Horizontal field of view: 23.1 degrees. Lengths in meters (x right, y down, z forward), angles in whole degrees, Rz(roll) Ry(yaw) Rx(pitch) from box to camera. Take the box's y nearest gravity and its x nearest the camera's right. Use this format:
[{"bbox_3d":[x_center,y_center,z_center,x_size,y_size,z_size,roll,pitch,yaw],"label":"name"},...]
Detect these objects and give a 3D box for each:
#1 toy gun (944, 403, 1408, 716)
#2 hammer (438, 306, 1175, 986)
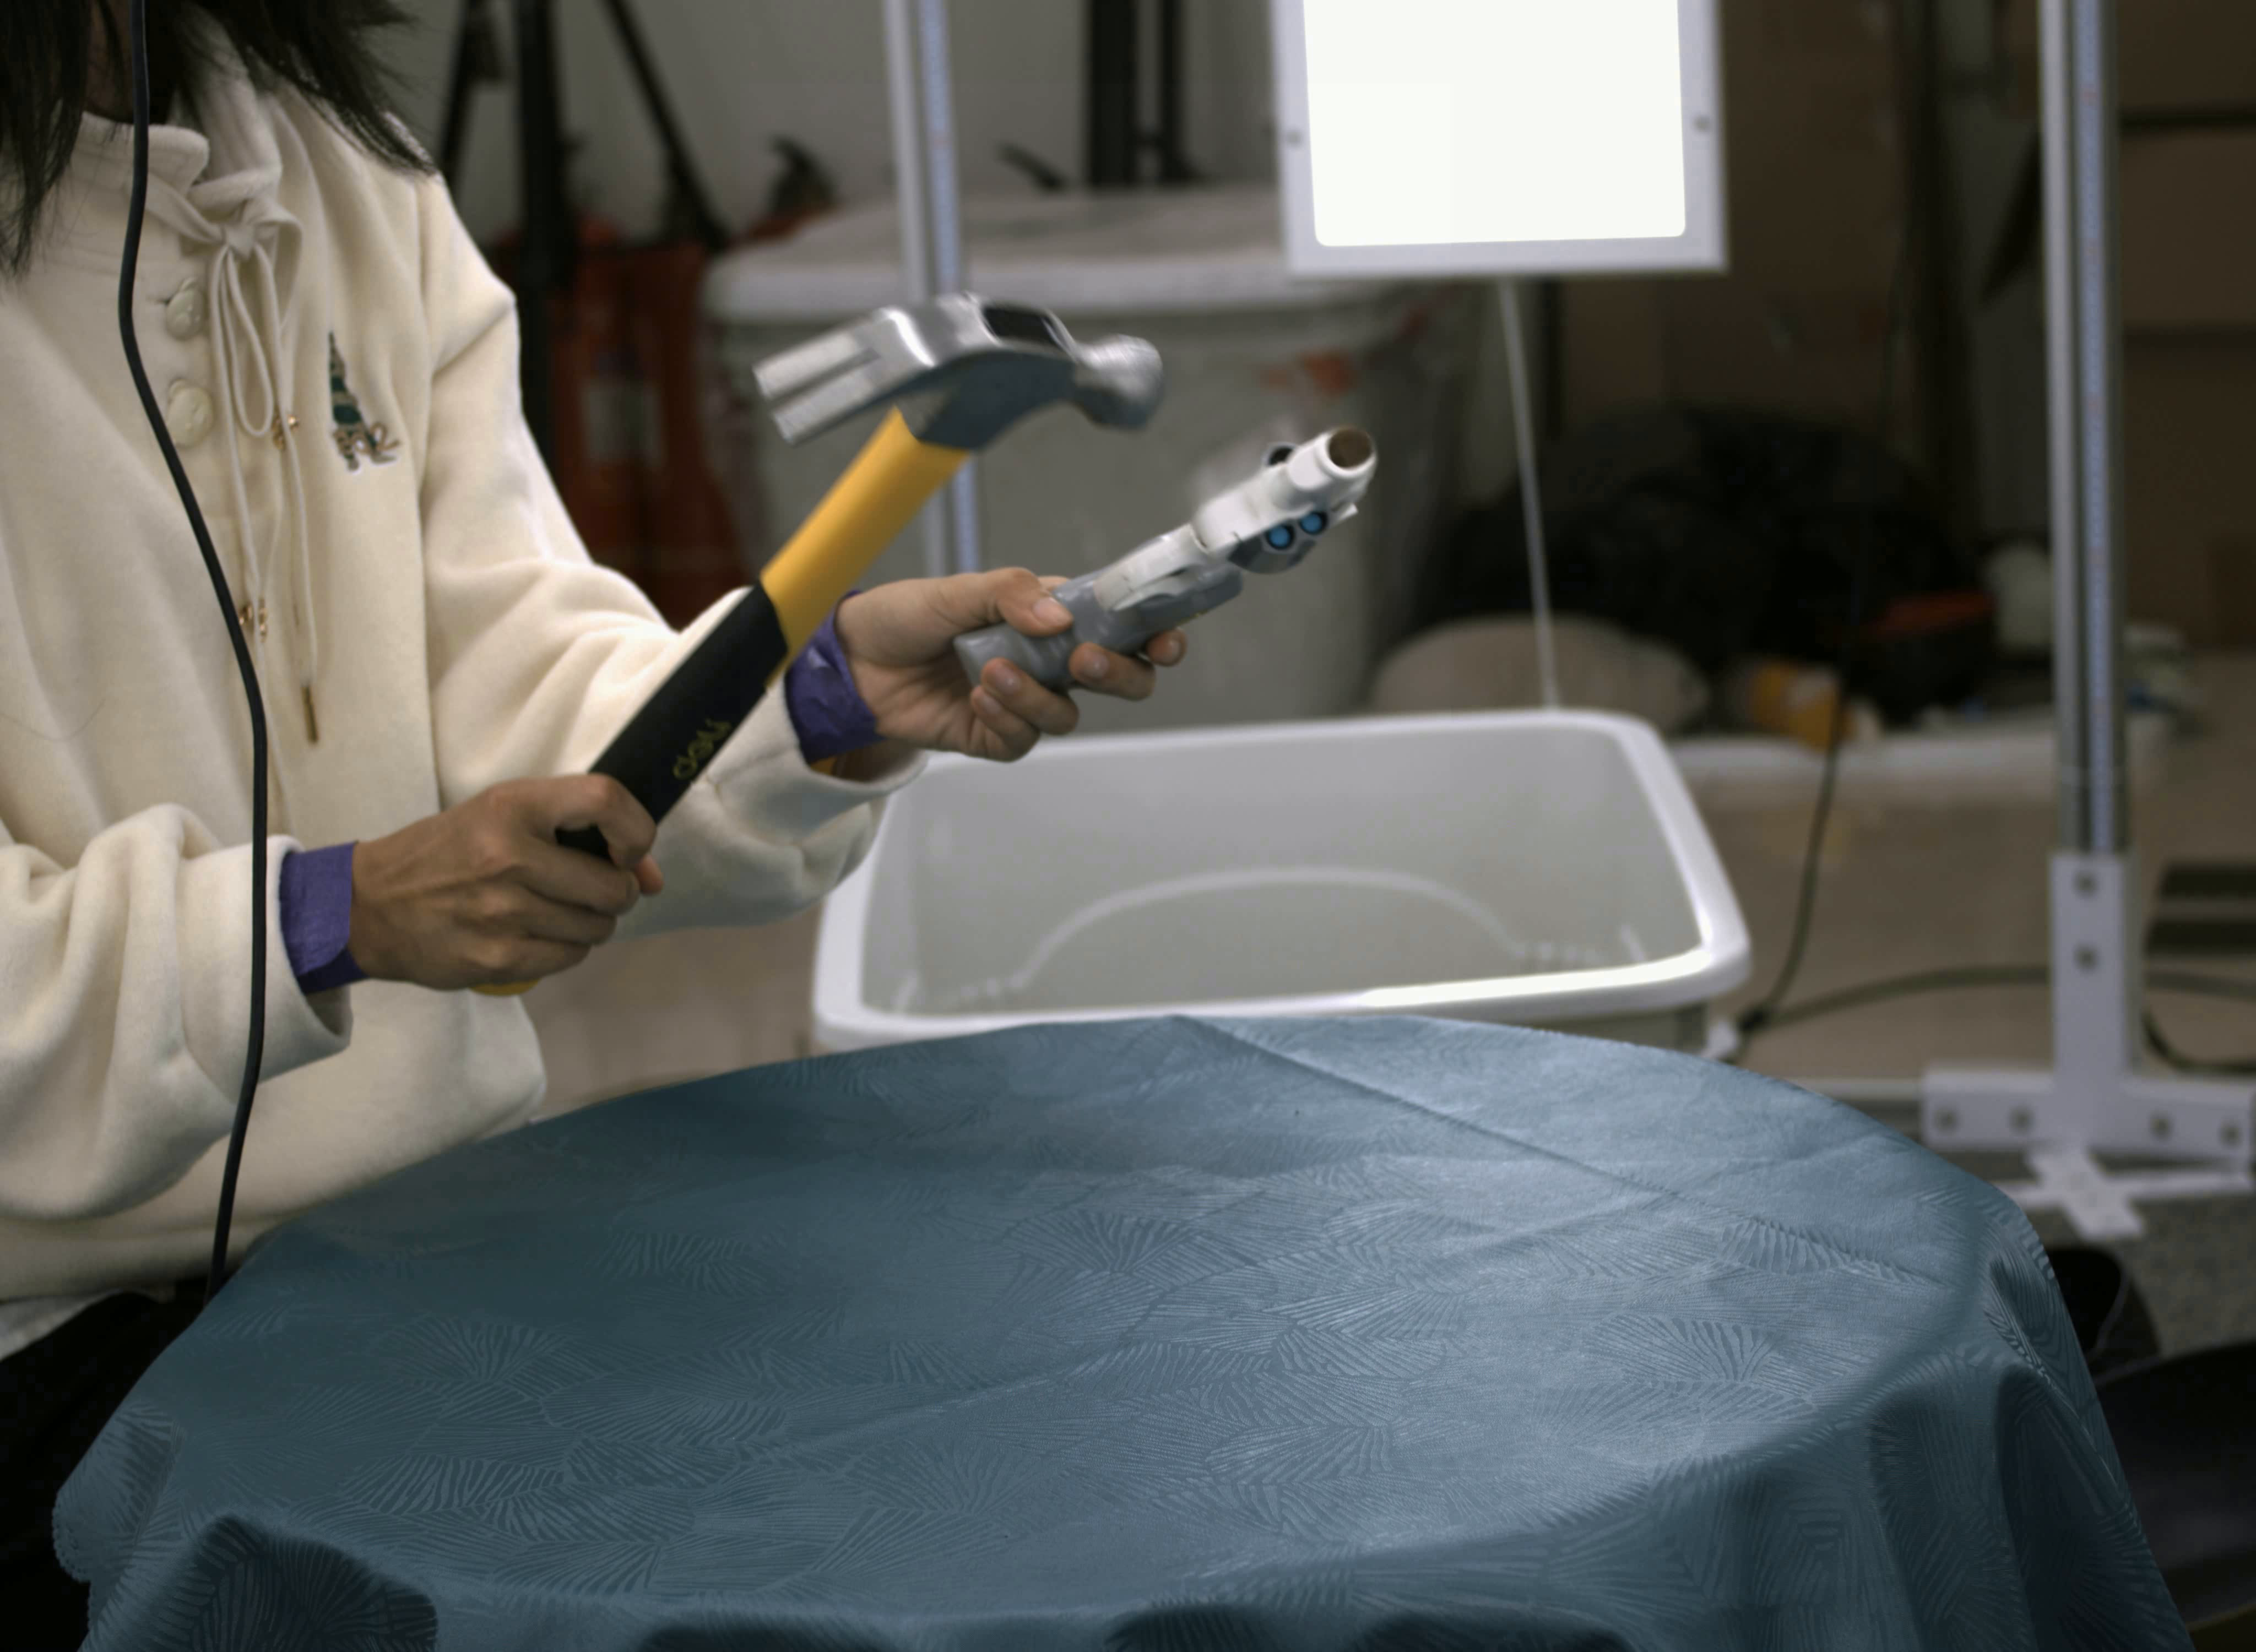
[{"bbox_3d":[0.015,-0.094,1.879,0.140,0.039,0.210,-23,-5,-11],"label":"toy gun"},{"bbox_3d":[-0.131,-0.056,1.863,0.128,0.032,0.345,7,-42,-43],"label":"hammer"}]
